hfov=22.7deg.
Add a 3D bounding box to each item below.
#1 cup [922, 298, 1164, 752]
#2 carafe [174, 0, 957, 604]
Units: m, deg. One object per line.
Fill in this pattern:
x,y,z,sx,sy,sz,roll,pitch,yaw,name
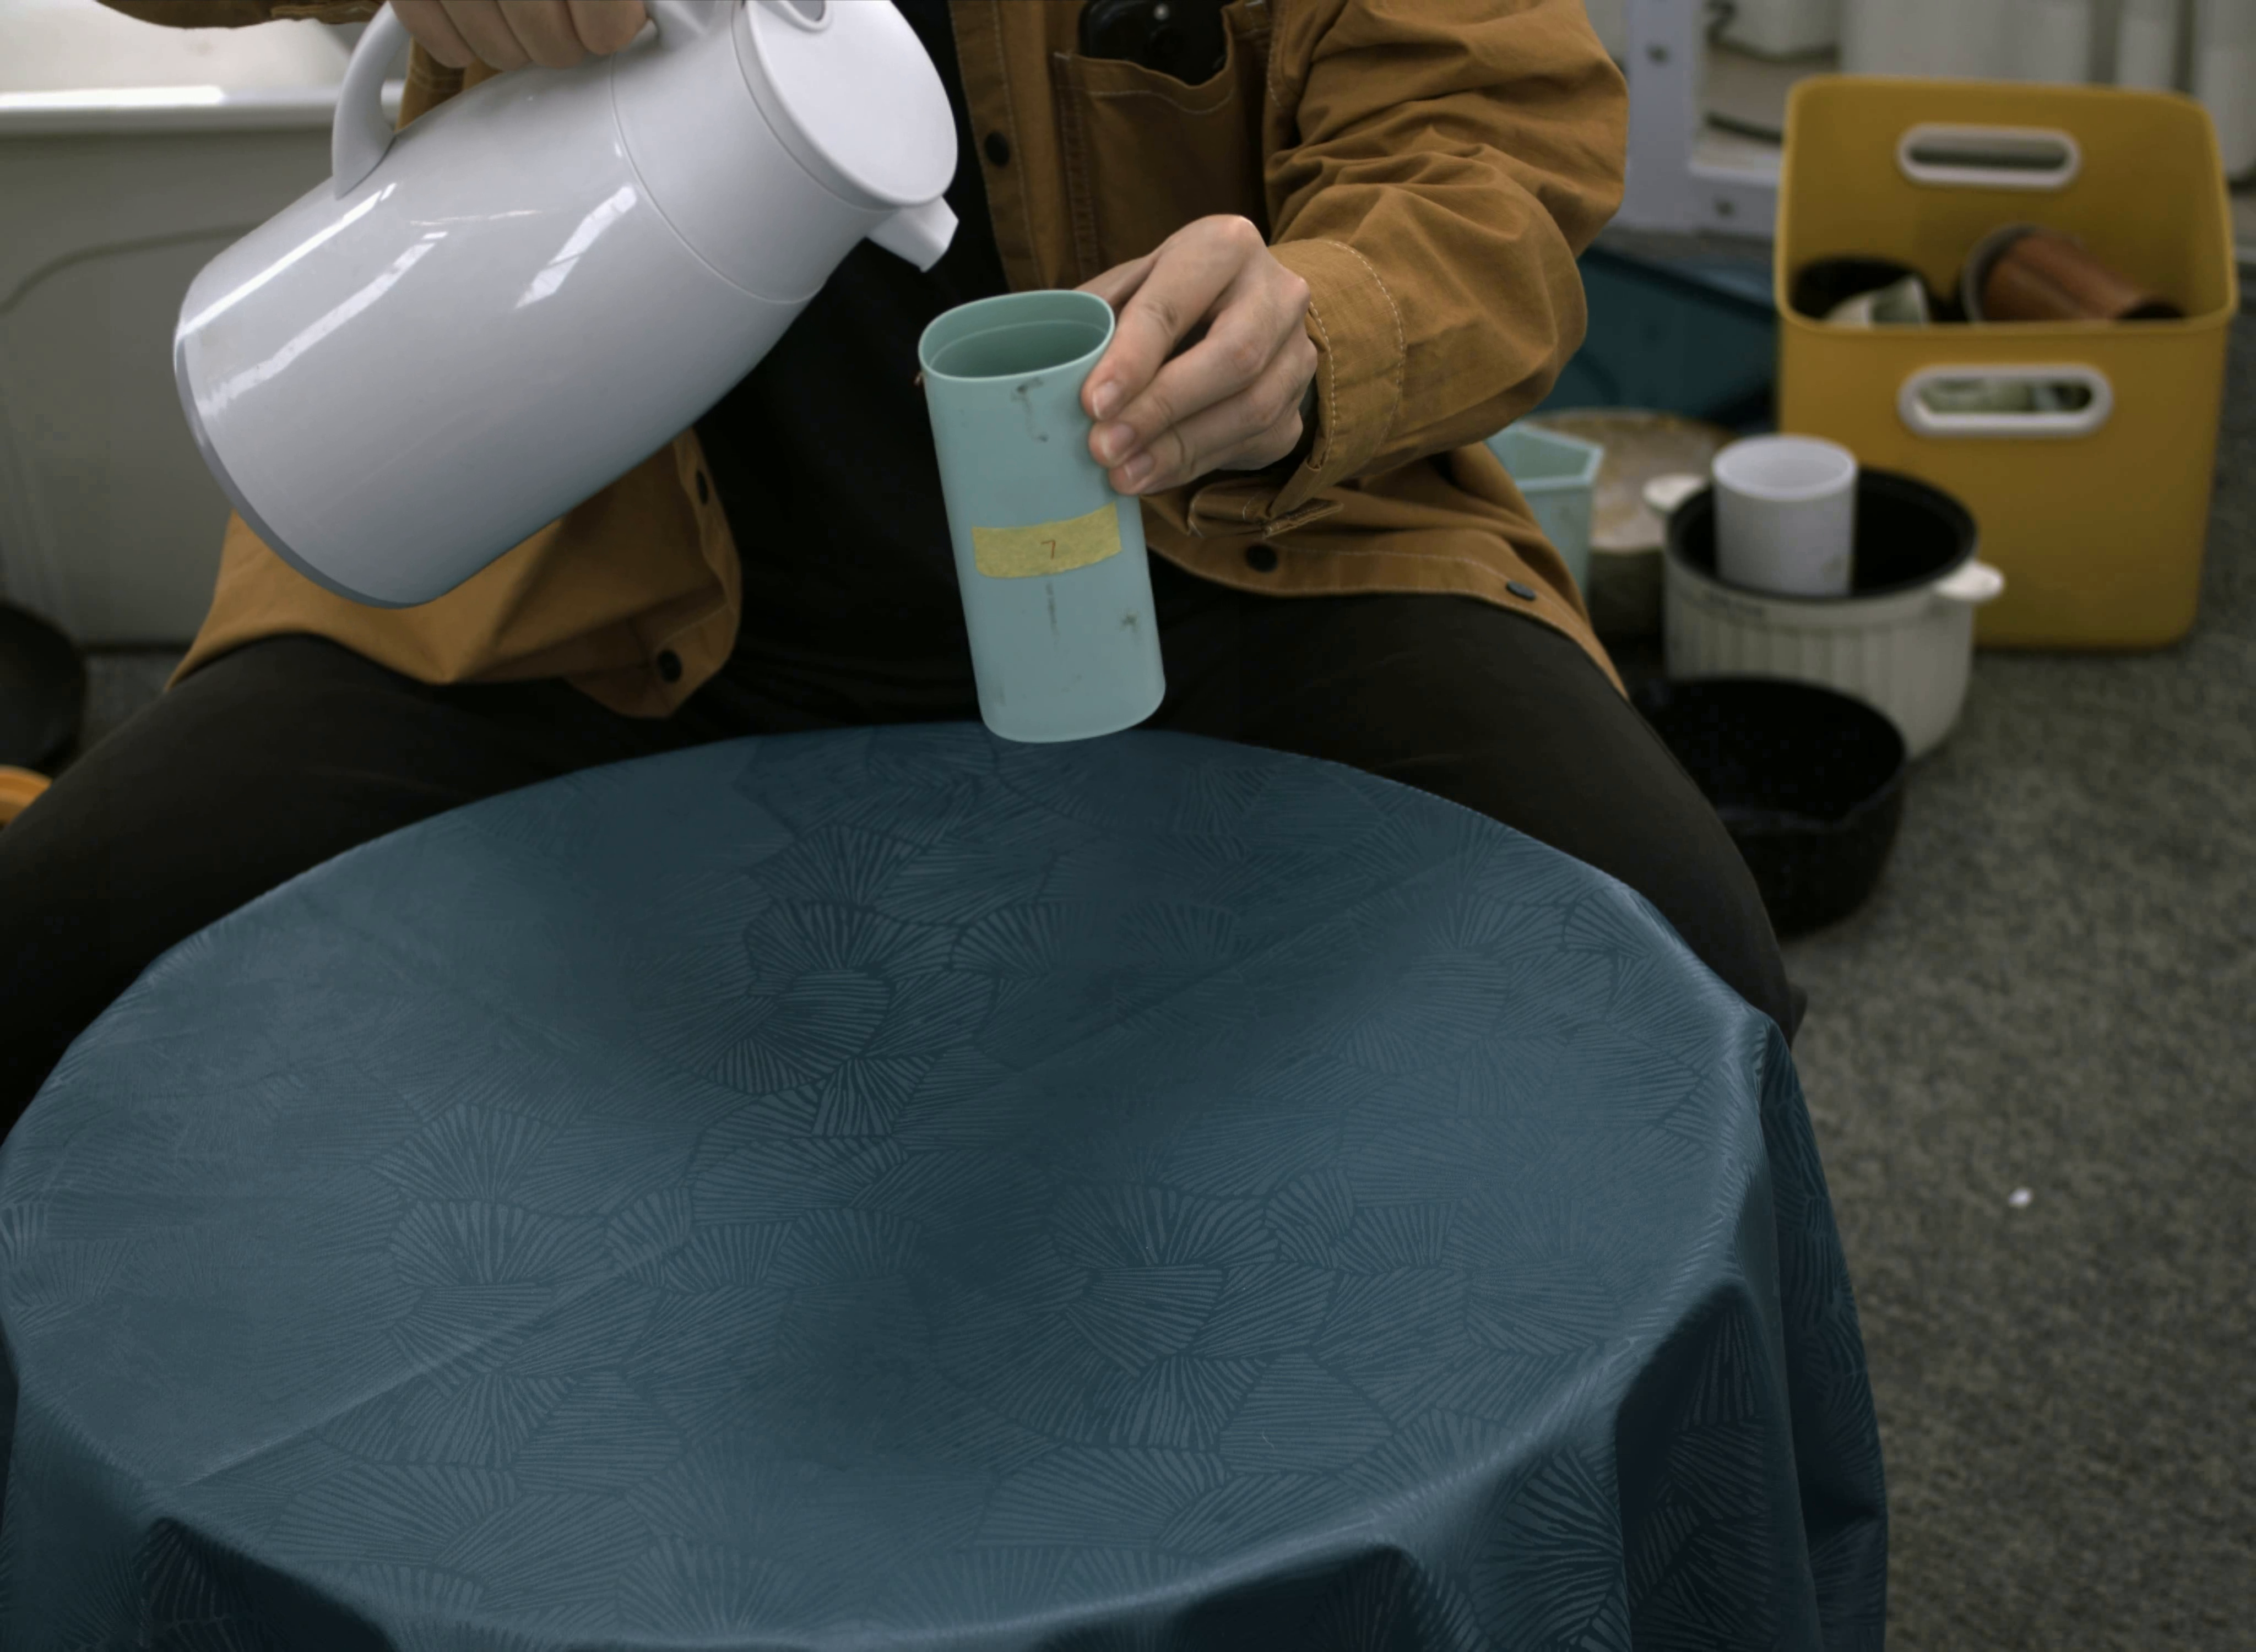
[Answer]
-0.026,-0.097,1.793,0.066,0.131,0.068,-6,28,4,cup
-0.182,-0.195,1.770,0.245,0.167,0.135,-30,25,30,carafe
